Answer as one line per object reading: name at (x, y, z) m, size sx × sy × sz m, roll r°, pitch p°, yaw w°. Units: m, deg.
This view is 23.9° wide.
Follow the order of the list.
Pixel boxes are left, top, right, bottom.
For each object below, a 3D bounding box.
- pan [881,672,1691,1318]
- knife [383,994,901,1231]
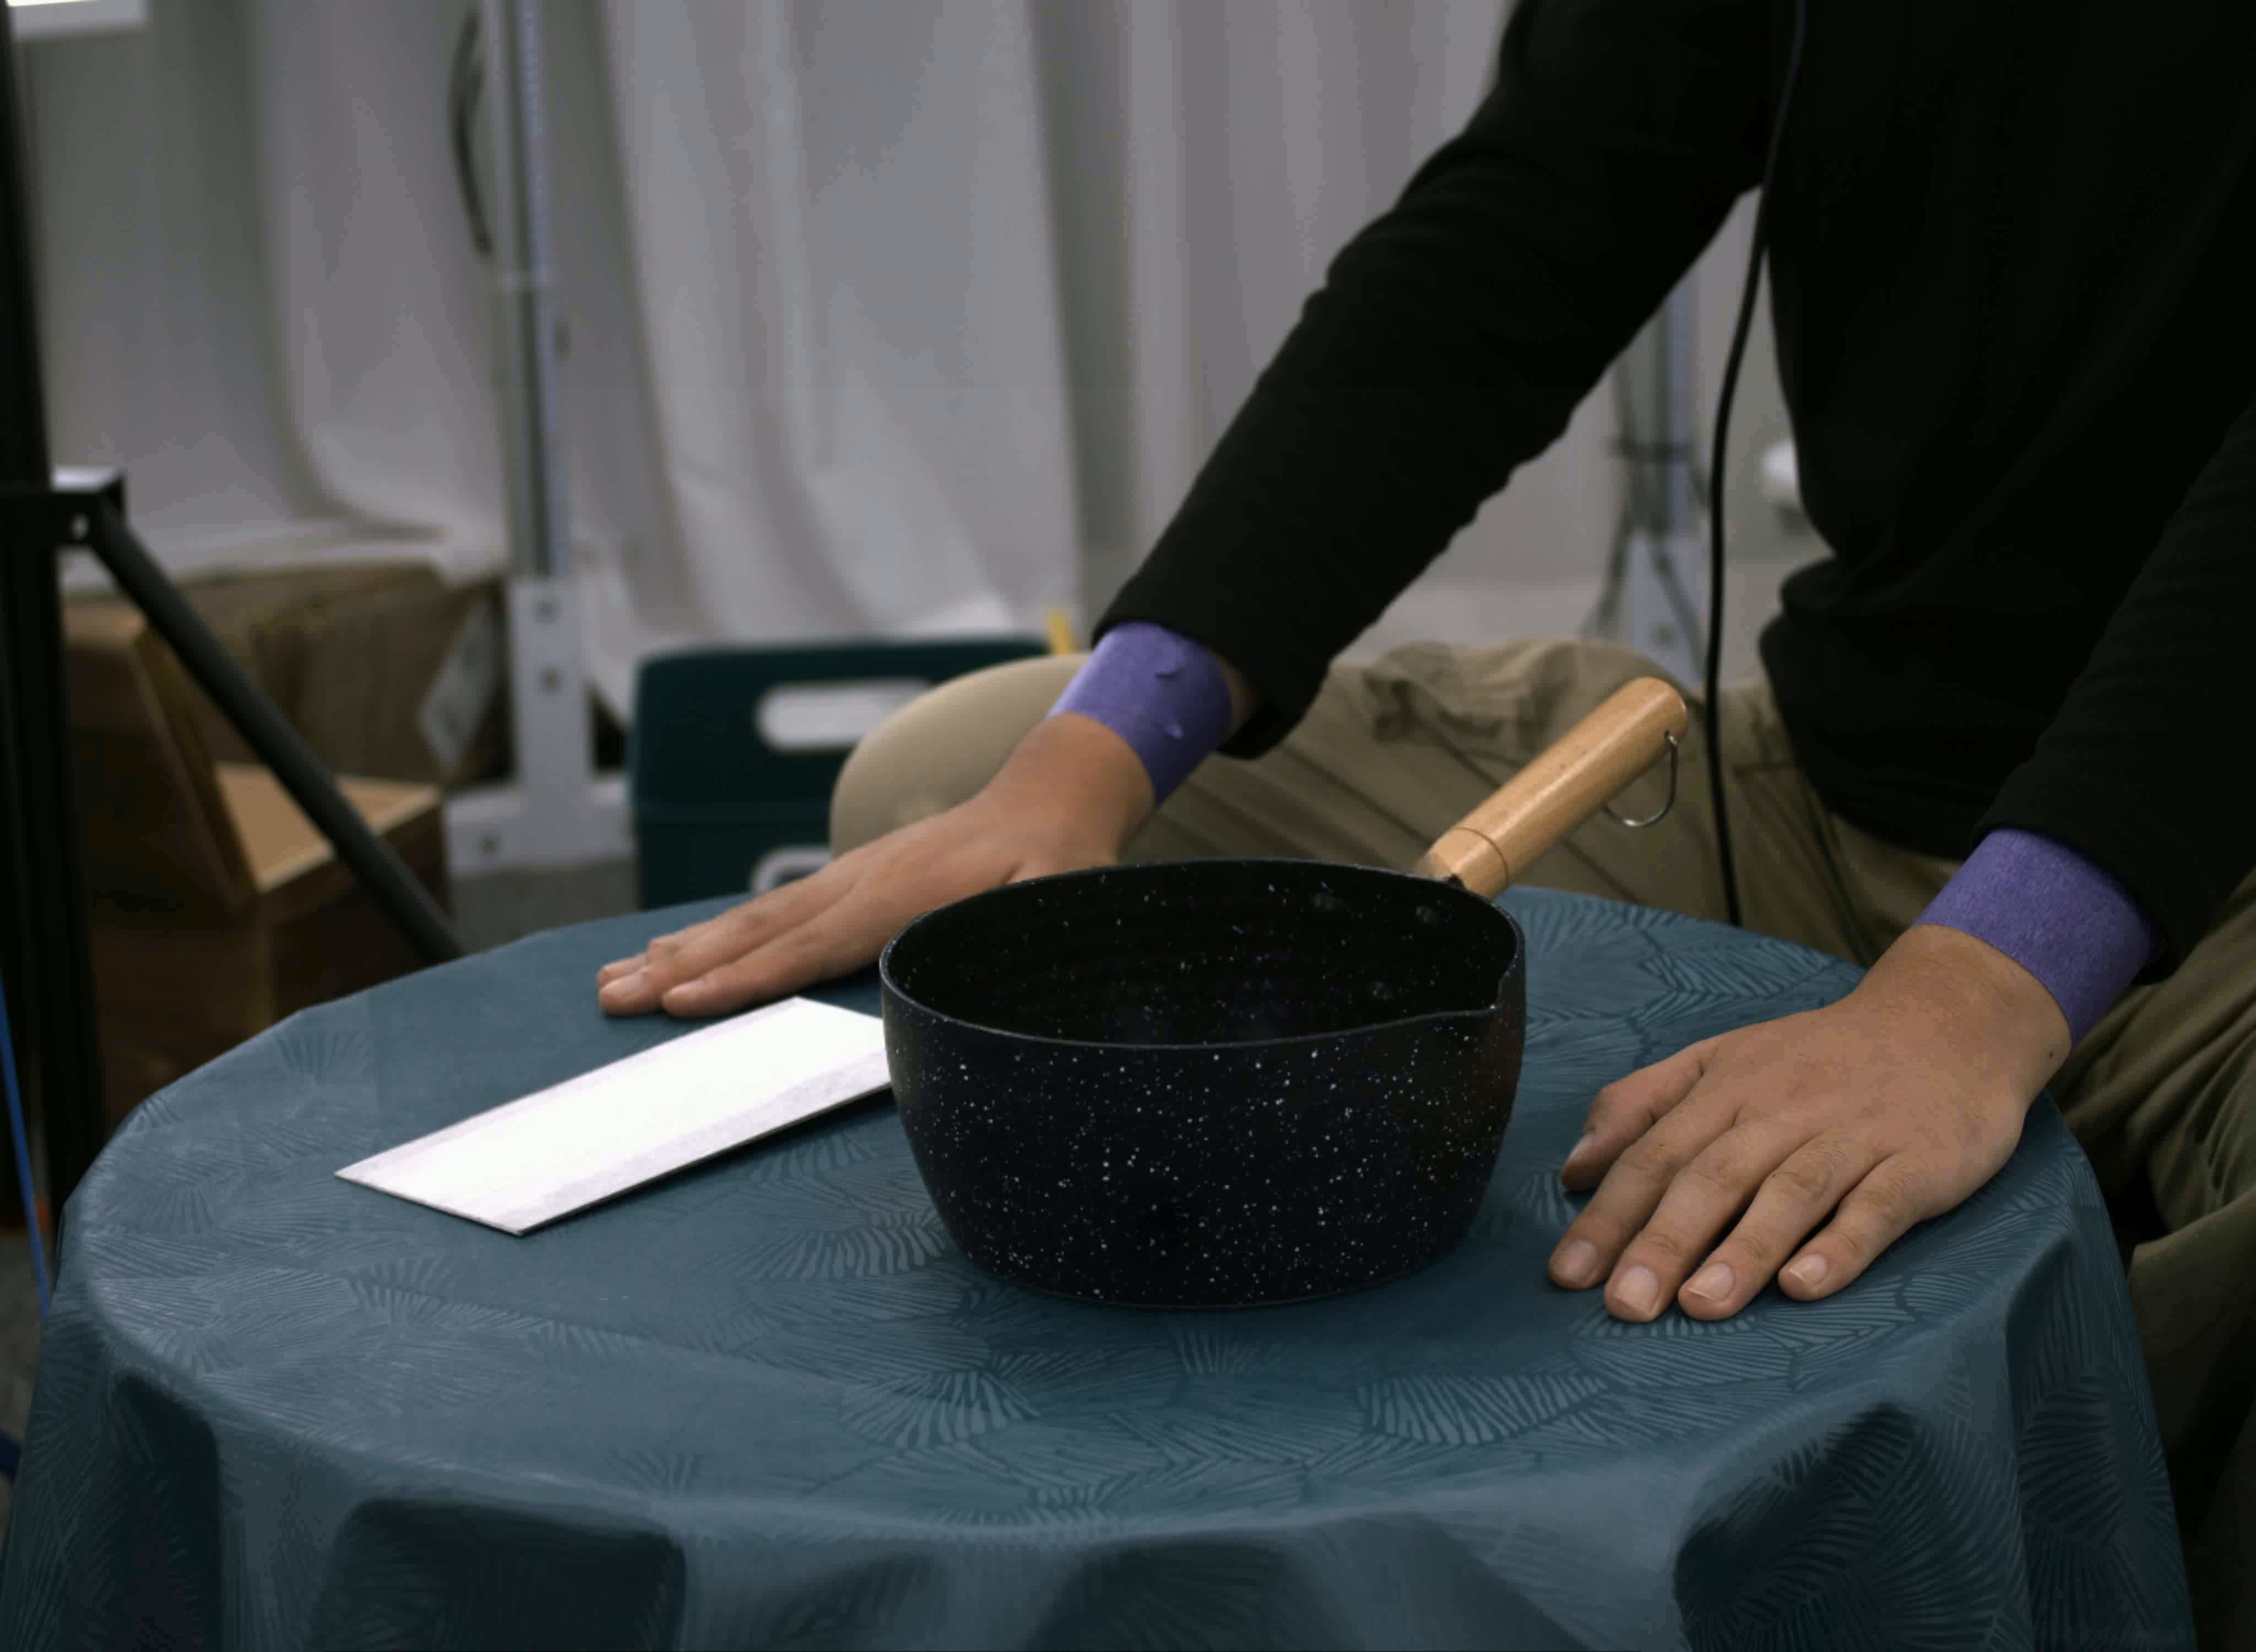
pan at (0.069, 0.045, 1.573) m, size 0.212 × 0.108 × 0.336 m, roll 9°, pitch 20°, yaw 36°
knife at (-0.101, 0.073, 1.669) m, size 0.299 × 0.021 × 0.095 m, roll -20°, pitch 22°, yaw -41°
